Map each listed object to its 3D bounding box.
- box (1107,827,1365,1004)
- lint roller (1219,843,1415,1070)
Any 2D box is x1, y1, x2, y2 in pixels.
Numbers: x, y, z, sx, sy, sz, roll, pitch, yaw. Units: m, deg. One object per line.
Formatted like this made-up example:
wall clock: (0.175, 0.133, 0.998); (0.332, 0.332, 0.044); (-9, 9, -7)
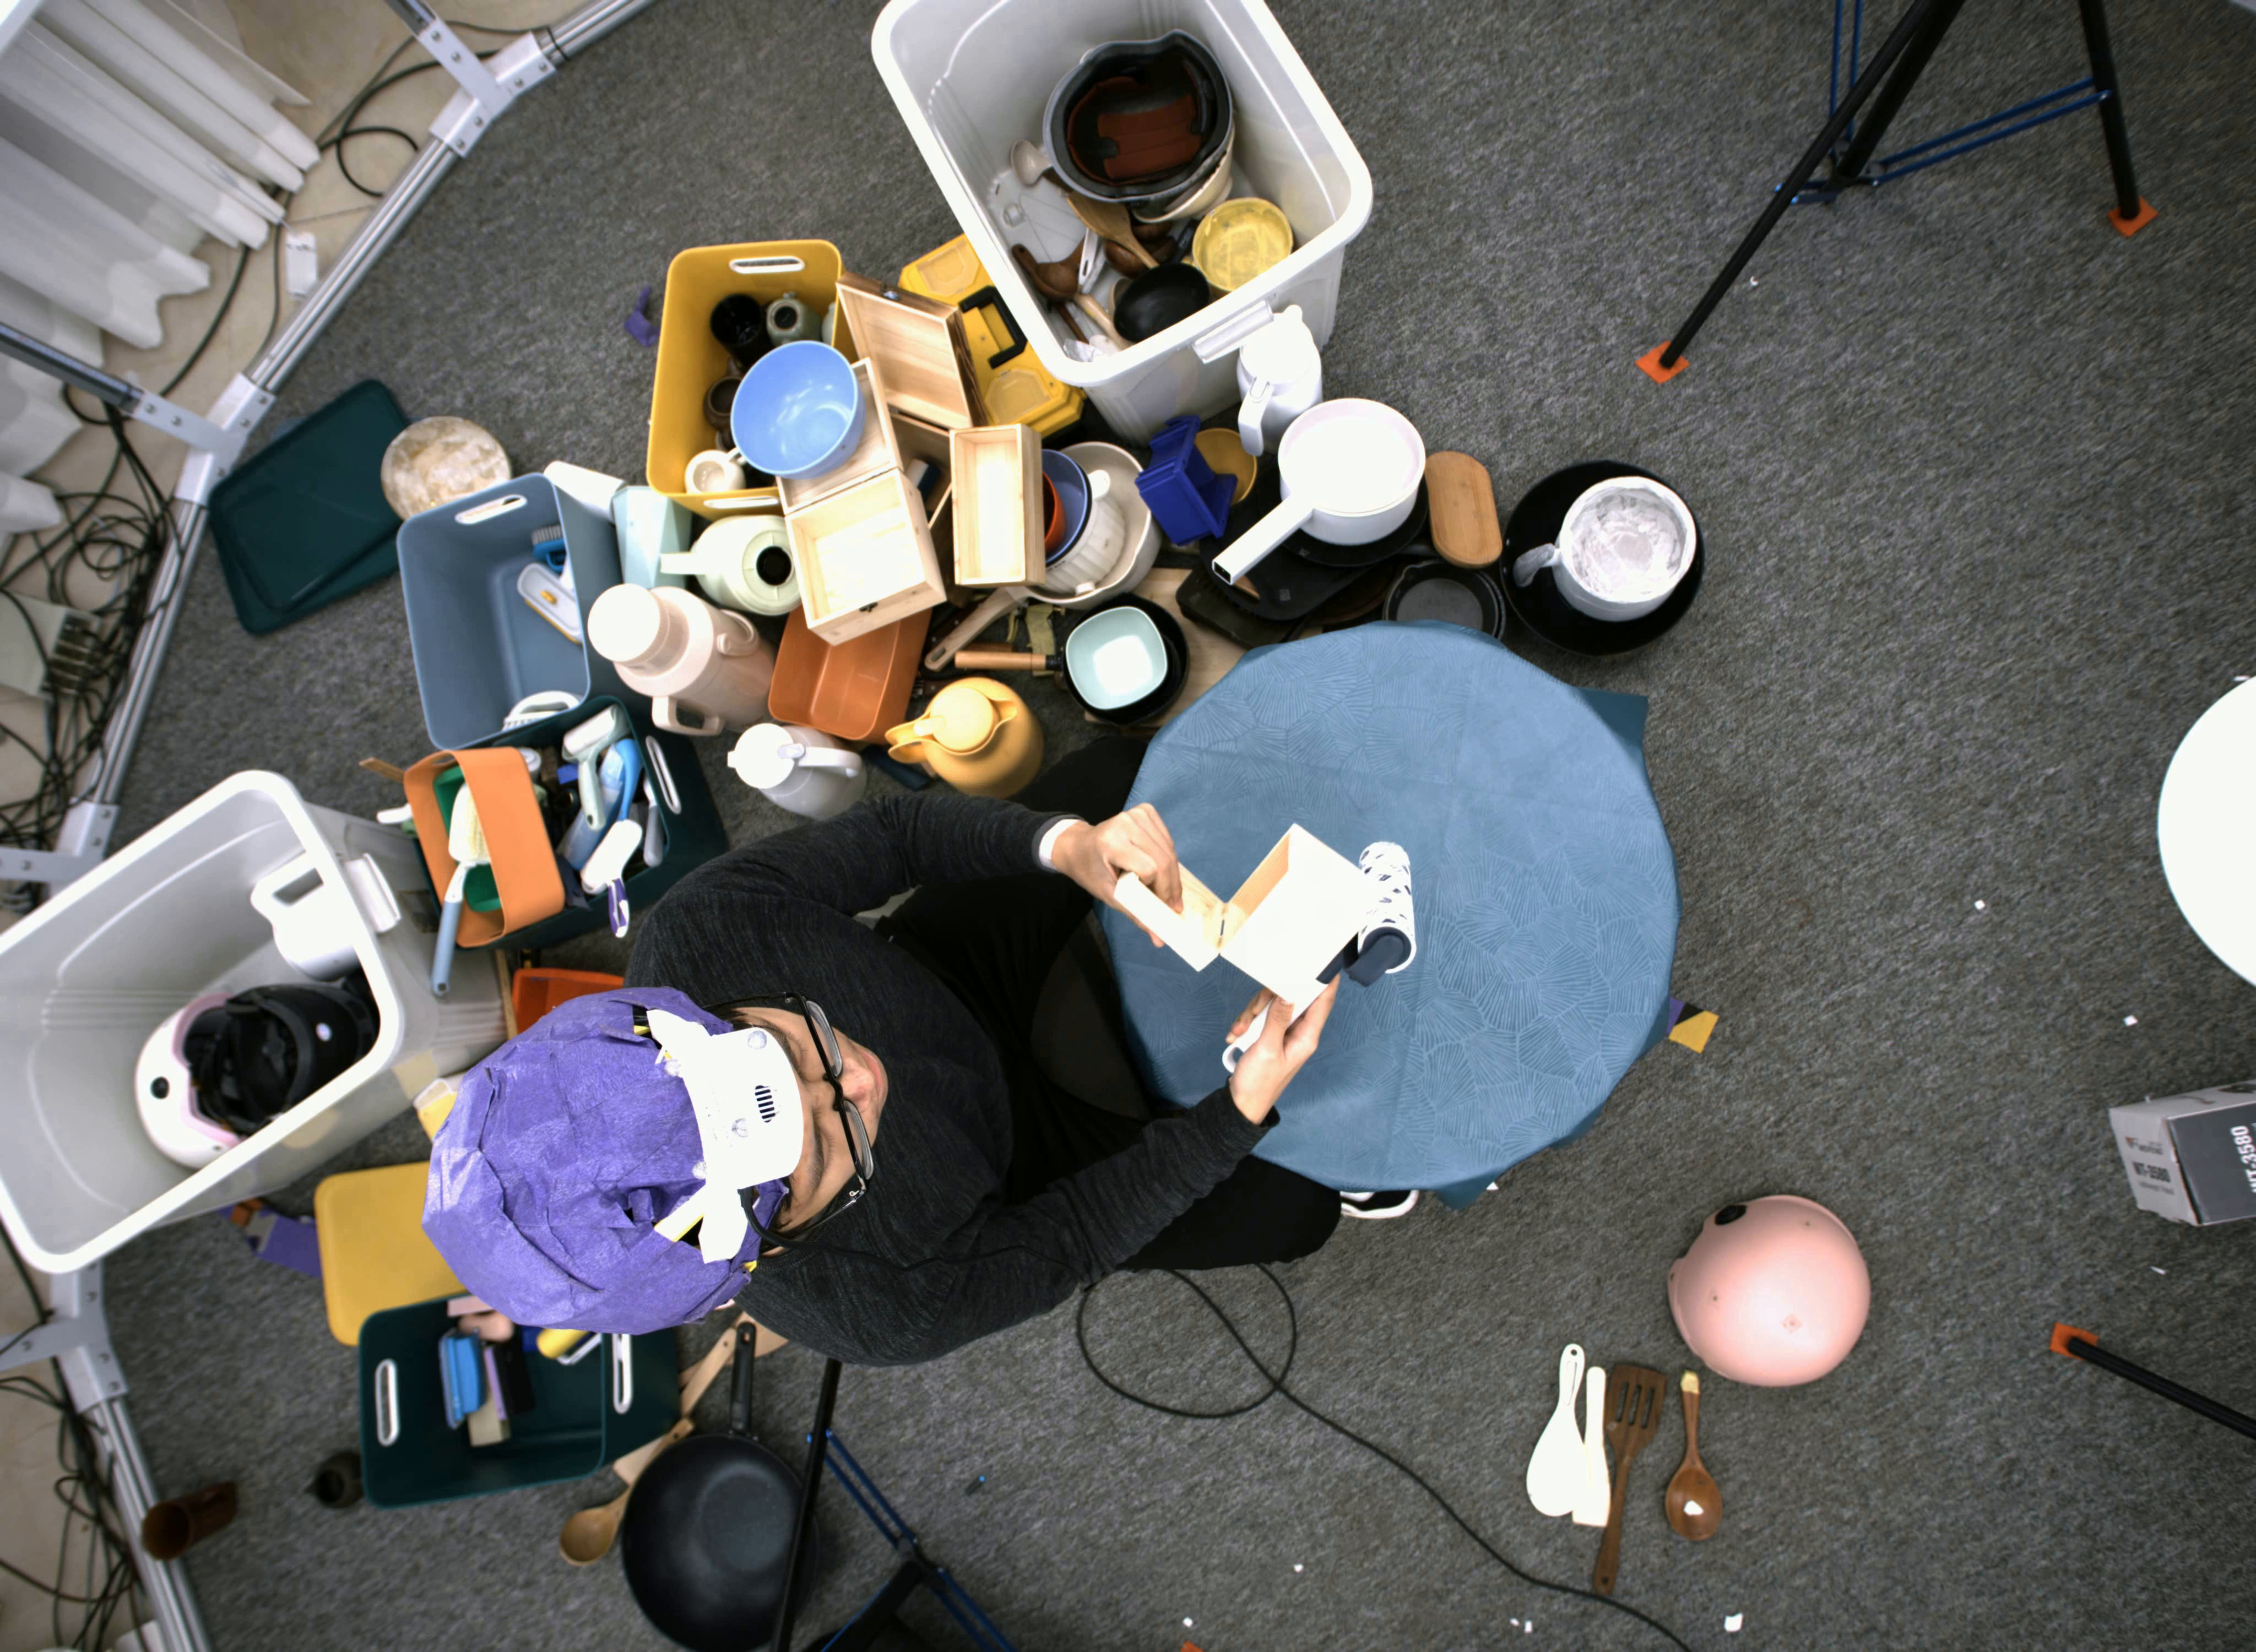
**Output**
box: (0.096, 0.053, 1.202); (0.185, 0.100, 0.136); (35, 113, -7)
lint roller: (0.169, 0.139, 1.254); (0.050, 0.172, 0.252); (33, 118, -7)
